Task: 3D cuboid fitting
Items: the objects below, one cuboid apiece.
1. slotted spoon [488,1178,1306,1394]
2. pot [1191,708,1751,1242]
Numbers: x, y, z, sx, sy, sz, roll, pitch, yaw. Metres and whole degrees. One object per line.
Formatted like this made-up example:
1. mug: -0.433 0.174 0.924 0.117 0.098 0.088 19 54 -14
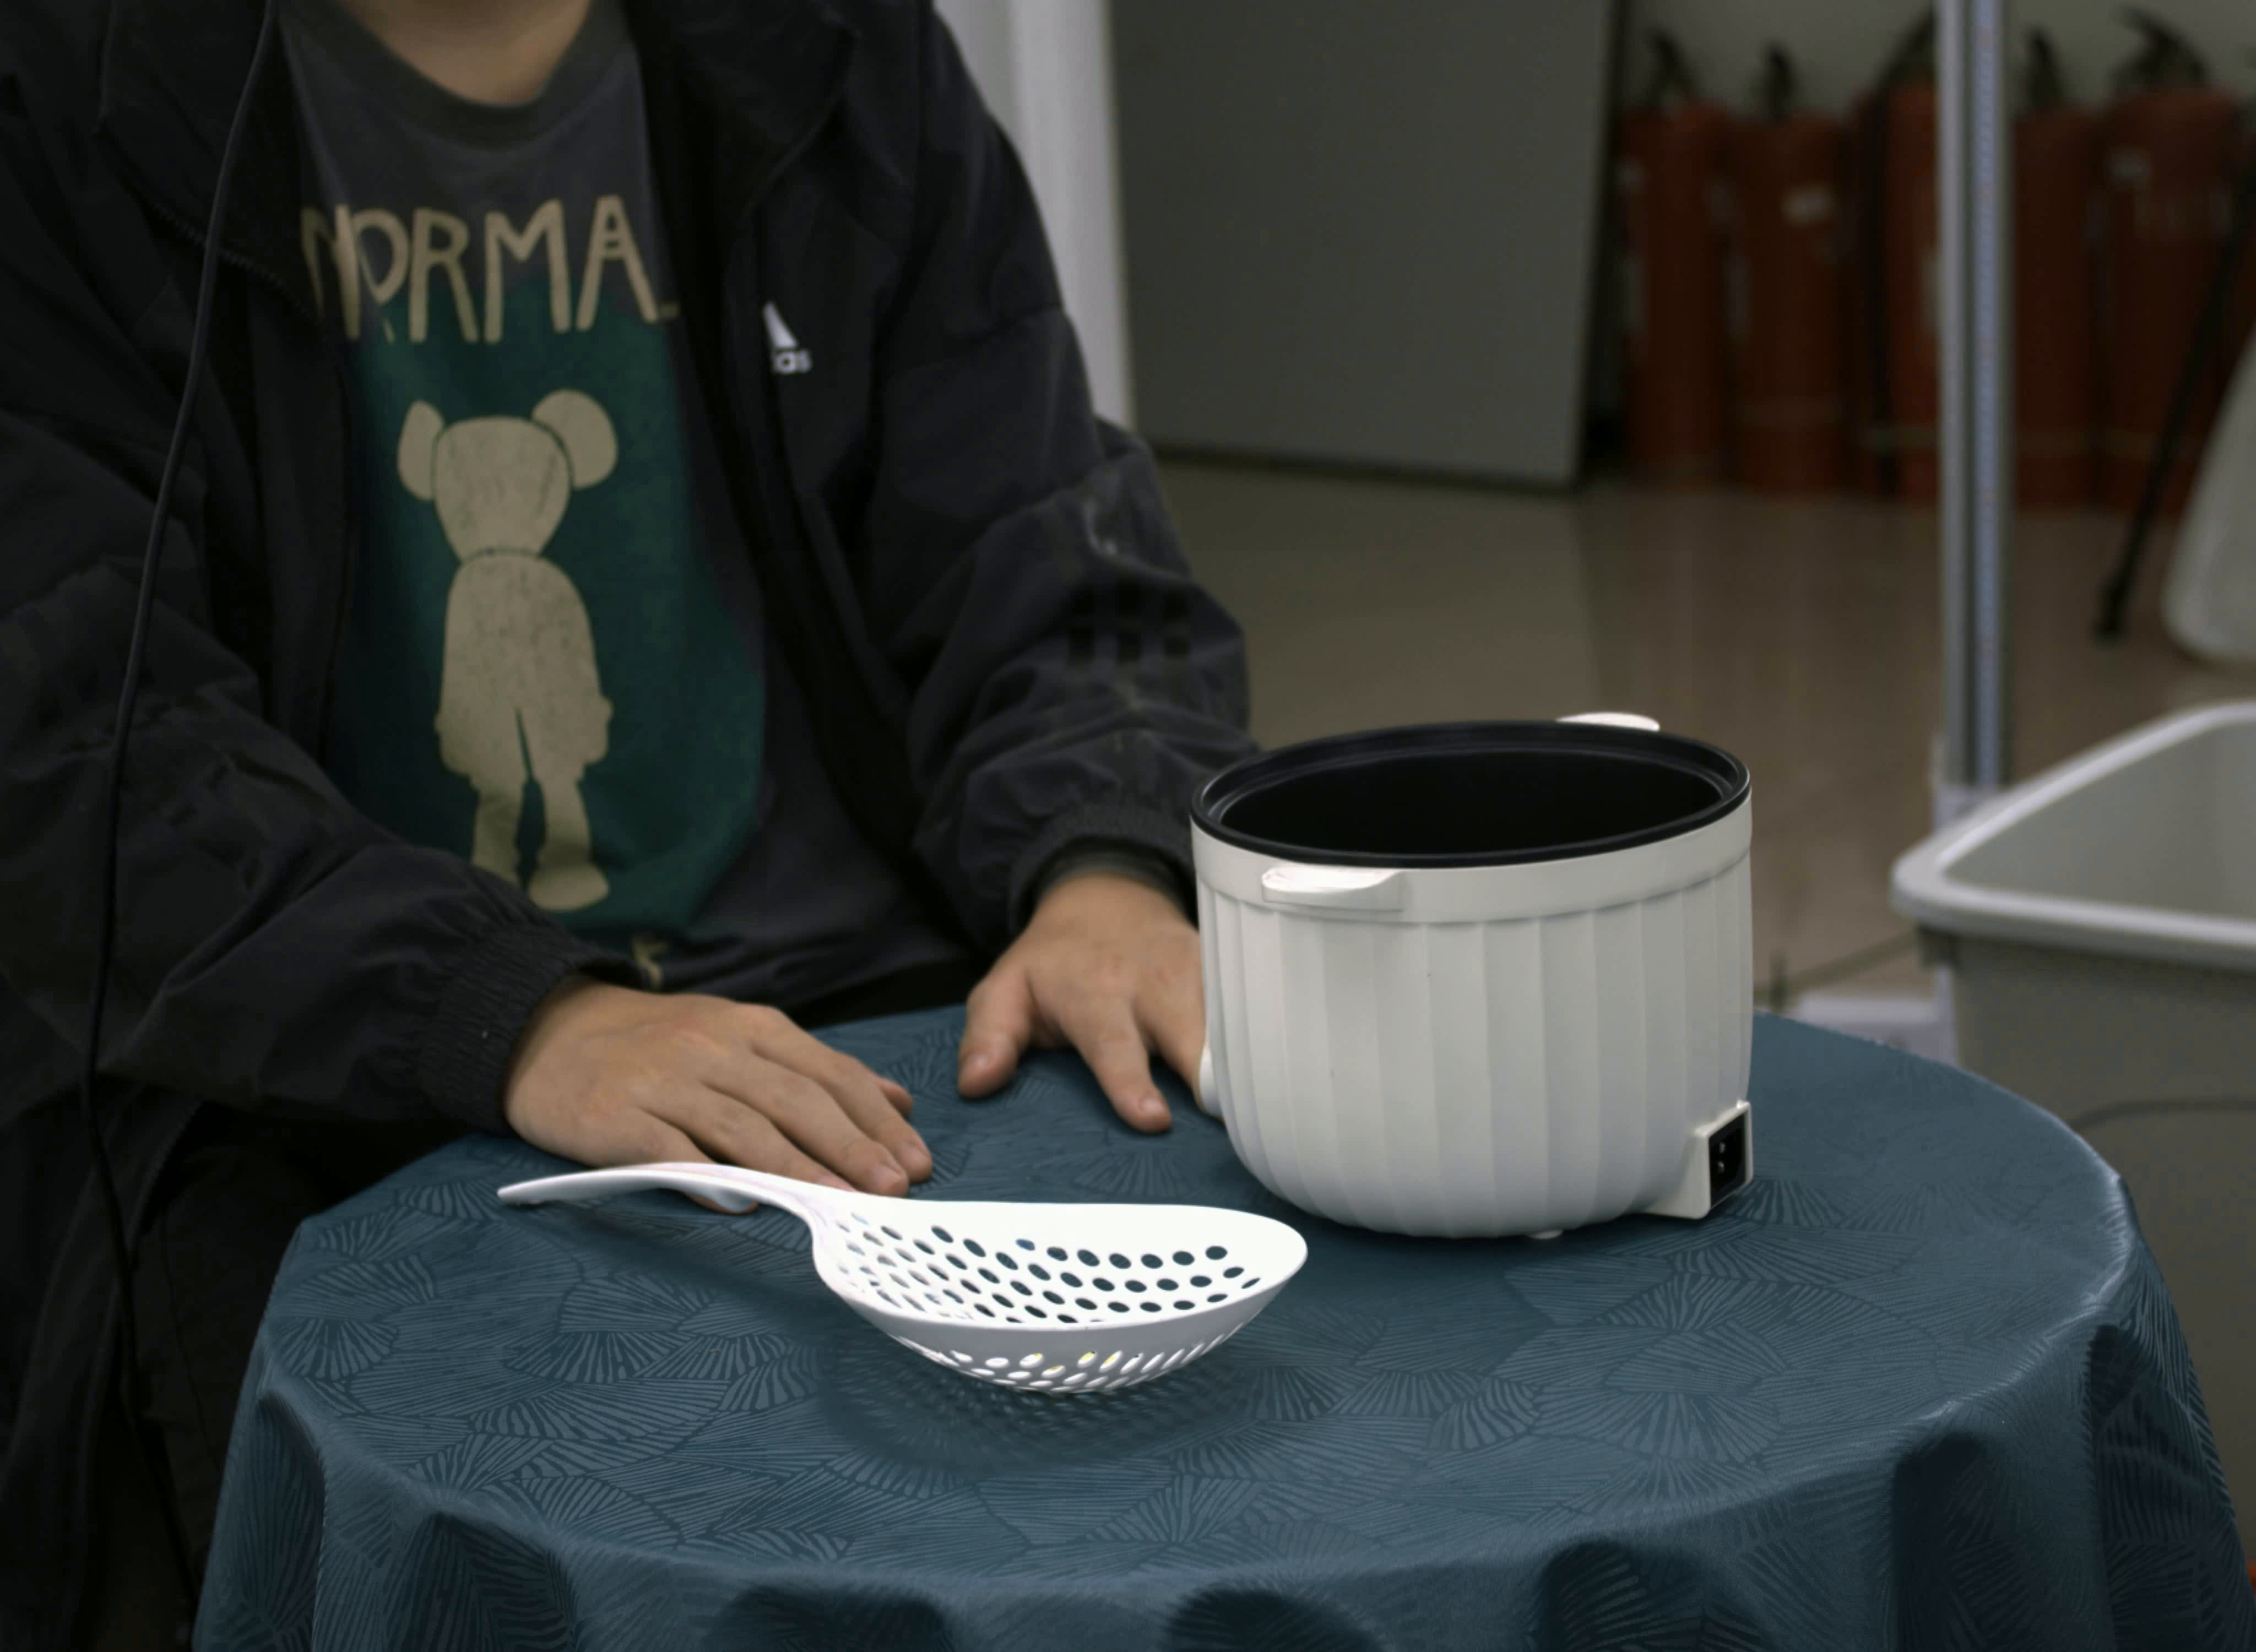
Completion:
1. slotted spoon: -0.088 0.130 1.675 0.134 0.051 0.351 -15 18 -39
2. pot: 0.107 0.050 1.739 0.191 0.144 0.236 7 16 29
